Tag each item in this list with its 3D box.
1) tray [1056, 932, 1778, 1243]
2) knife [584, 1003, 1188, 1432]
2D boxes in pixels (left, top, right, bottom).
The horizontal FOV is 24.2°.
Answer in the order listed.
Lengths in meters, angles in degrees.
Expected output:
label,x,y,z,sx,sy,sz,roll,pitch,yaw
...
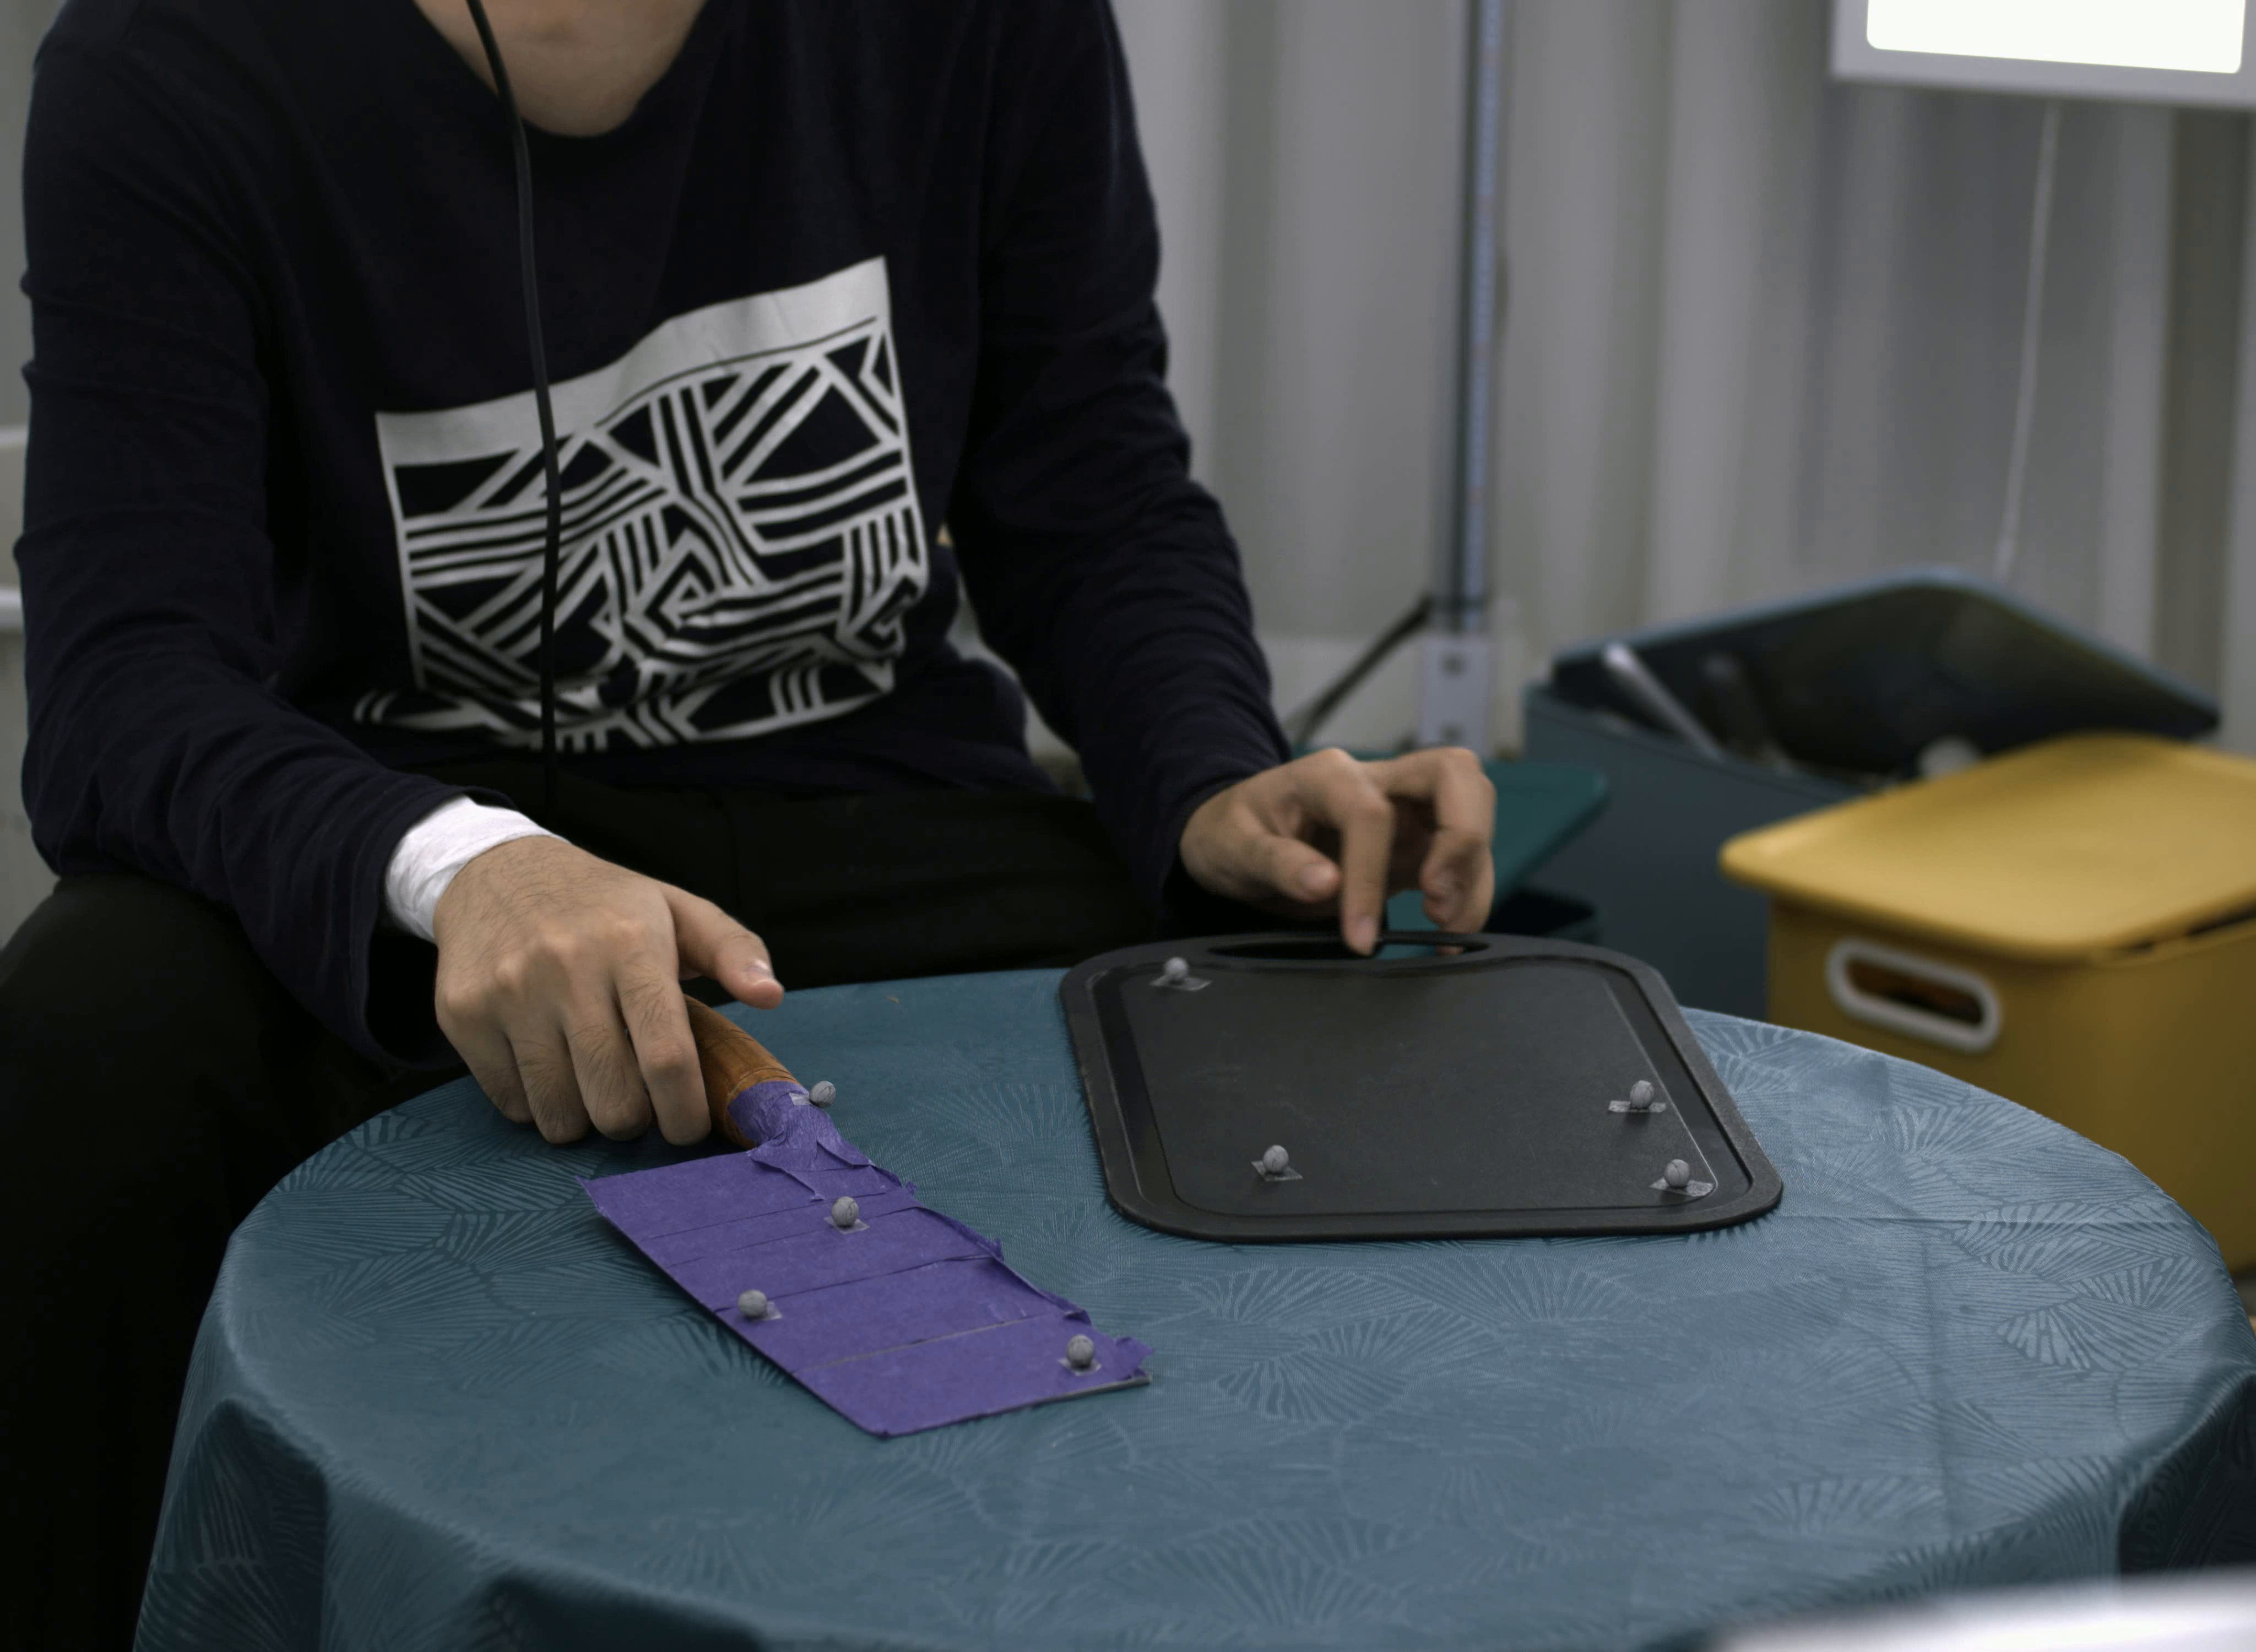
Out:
label,x,y,z,sx,sy,sz,roll,pitch,yaw
tray,0.087,0.080,1.735,0.211,0.010,0.323,-1,15,-5
knife,-0.103,0.113,1.570,0.104,0.032,0.311,-8,18,-29
